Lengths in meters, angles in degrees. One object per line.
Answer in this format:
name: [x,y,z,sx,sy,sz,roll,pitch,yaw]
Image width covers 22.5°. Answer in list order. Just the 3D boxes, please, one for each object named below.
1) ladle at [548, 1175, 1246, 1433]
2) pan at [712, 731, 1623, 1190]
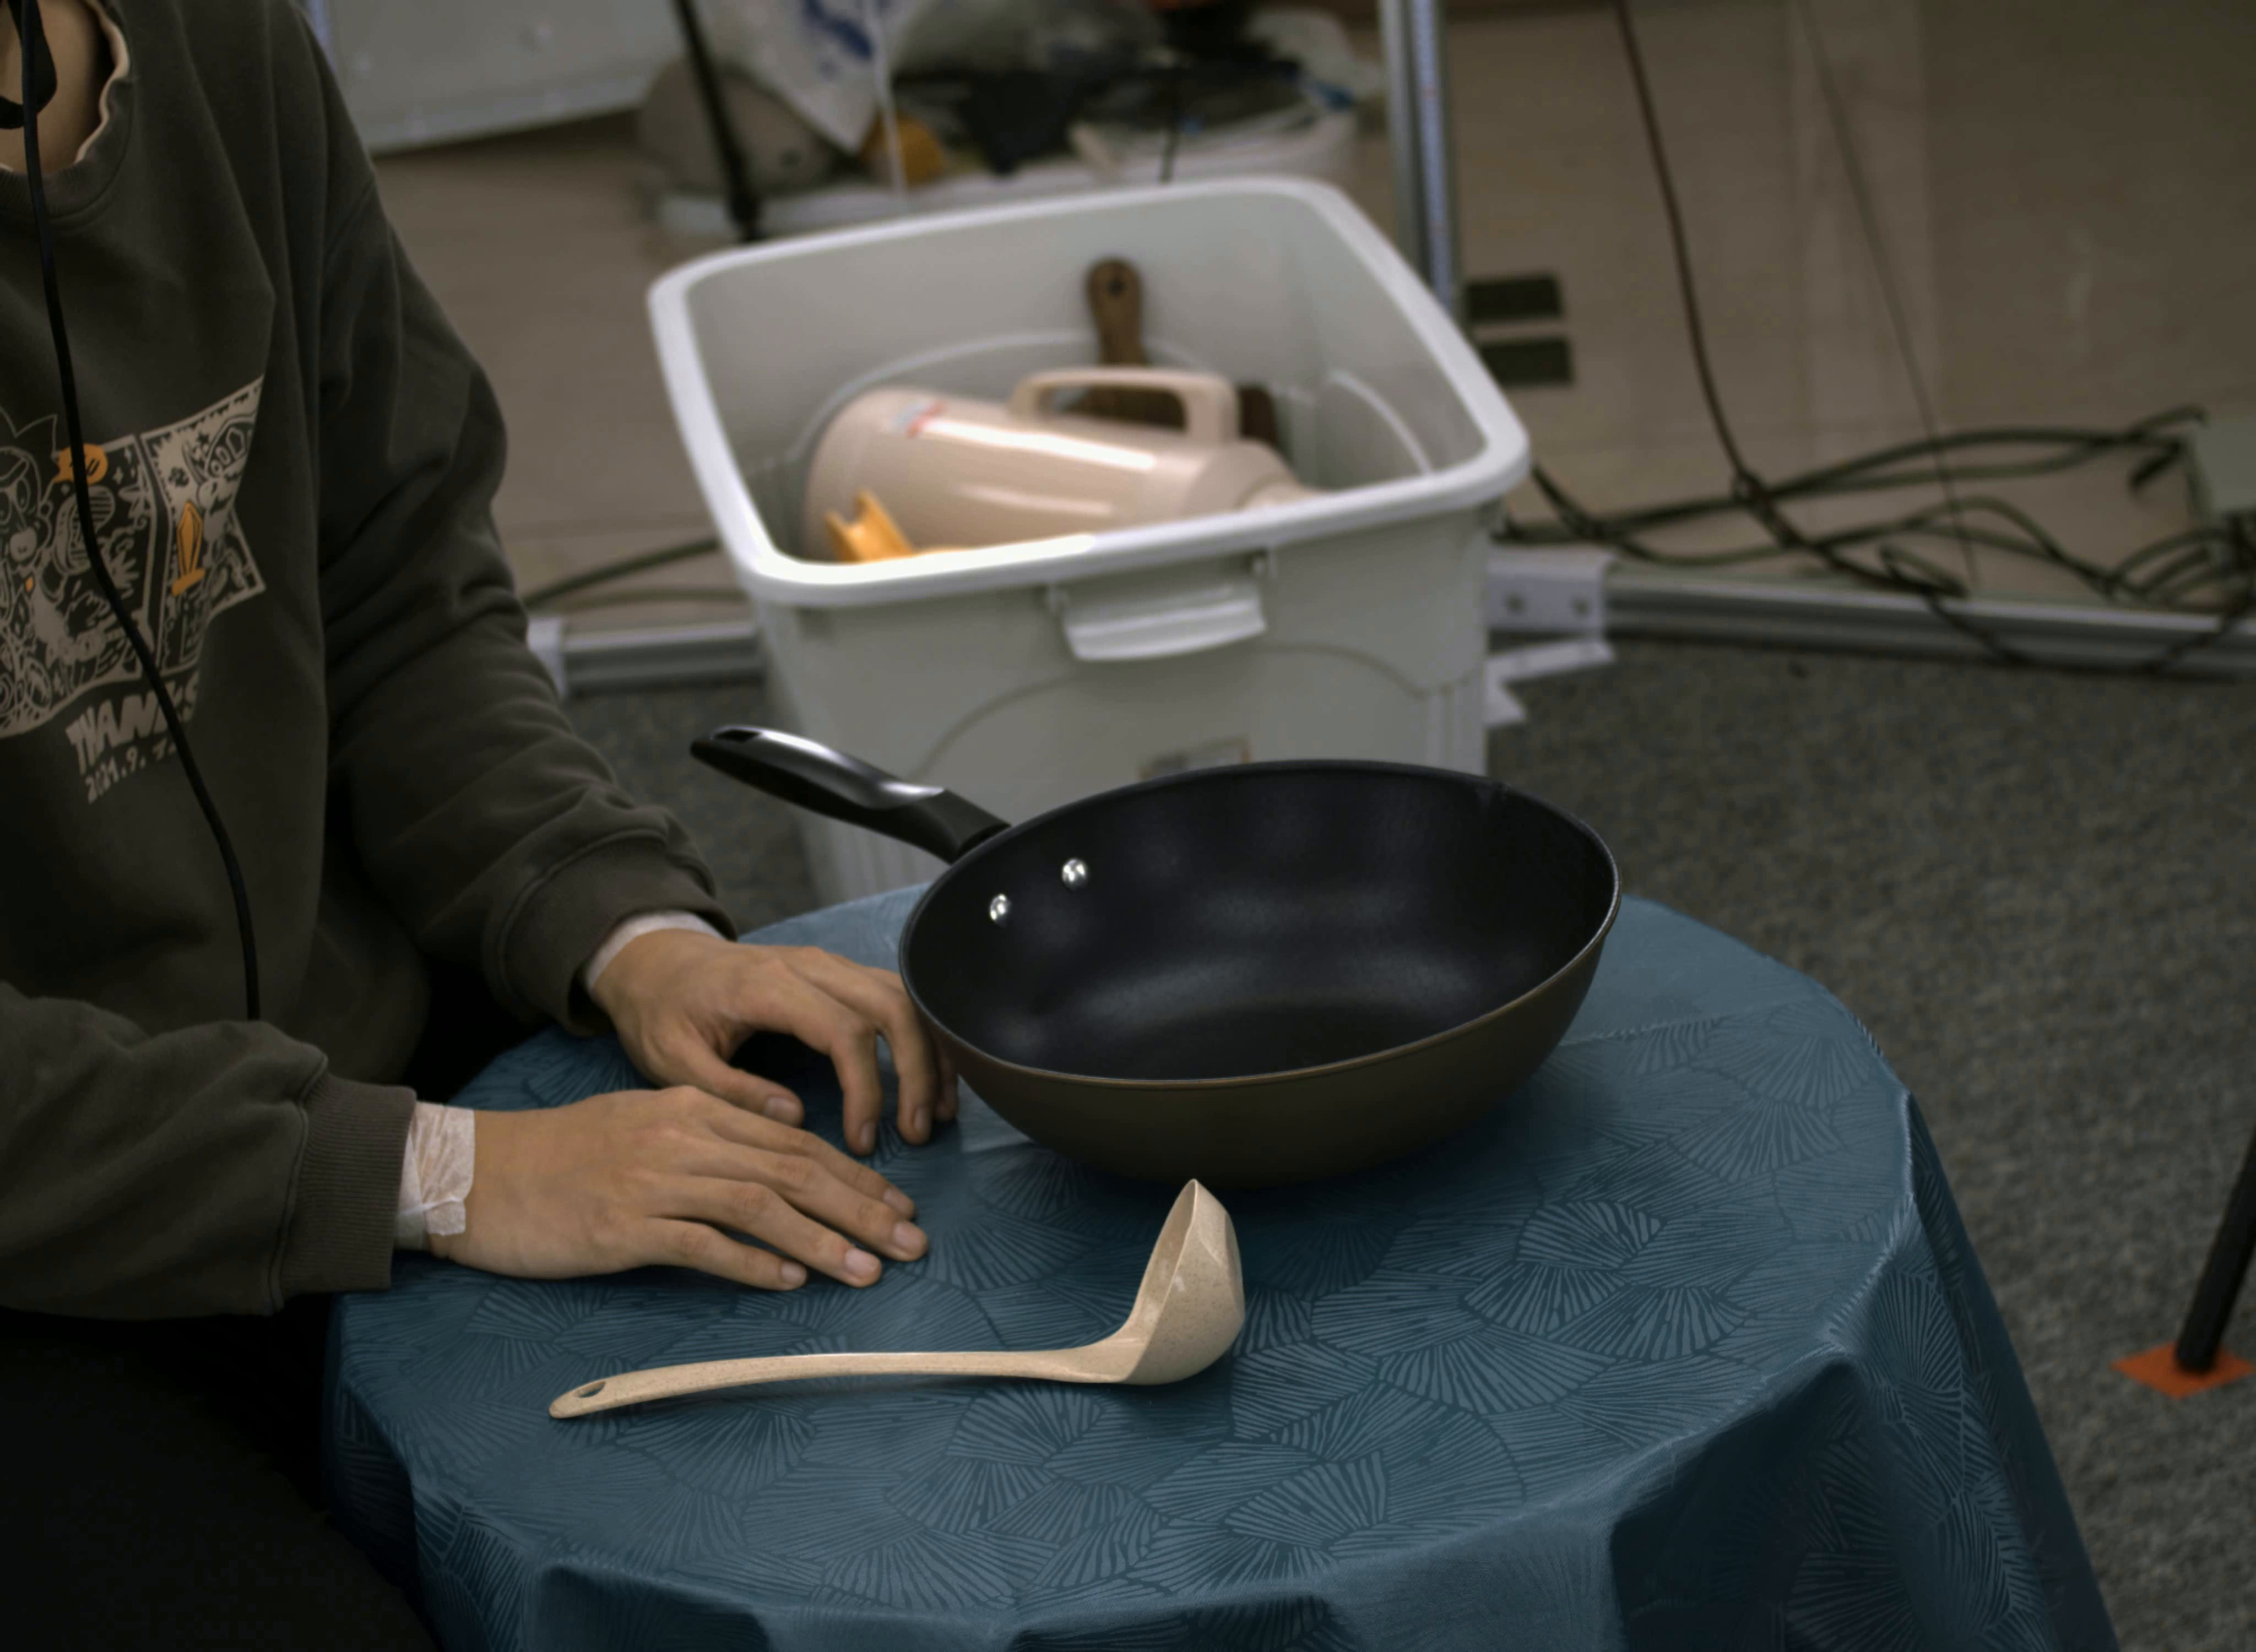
ladle: [-0.086,0.171,2.014,0.254,0.074,0.071,-6,31,2]
pan: [-0.010,0.047,2.246,0.285,0.088,0.460,-28,31,-37]
